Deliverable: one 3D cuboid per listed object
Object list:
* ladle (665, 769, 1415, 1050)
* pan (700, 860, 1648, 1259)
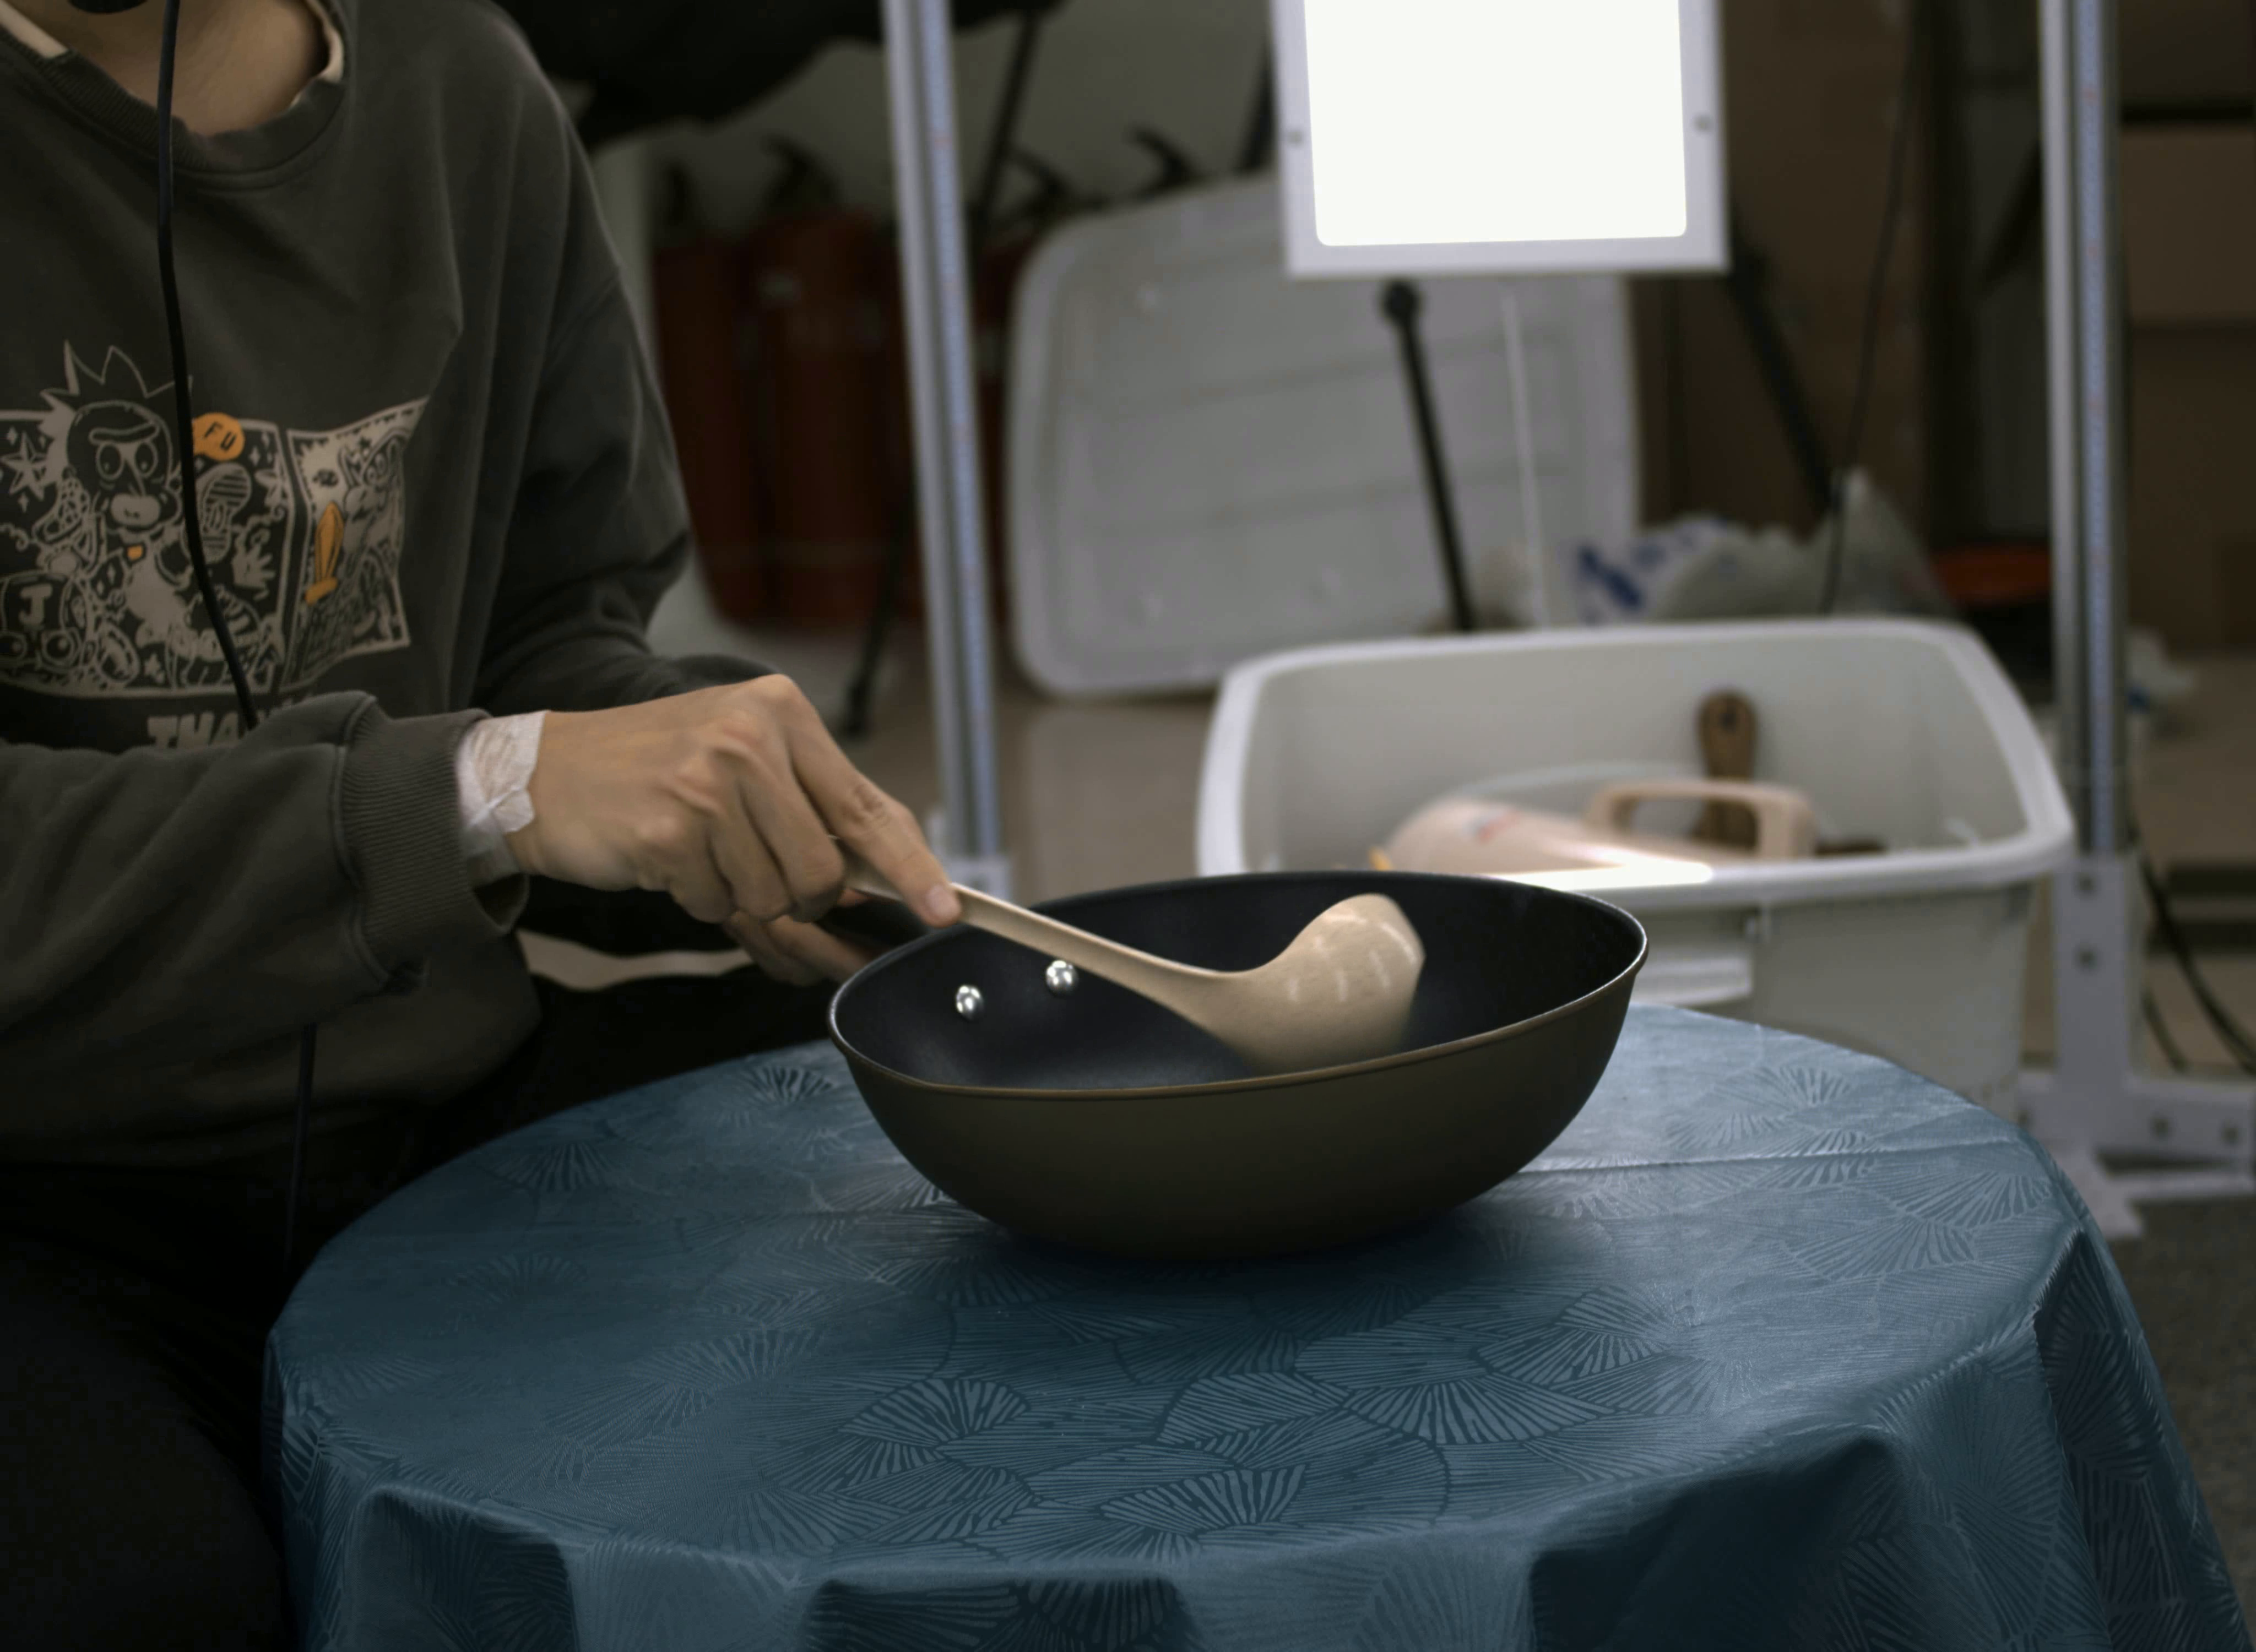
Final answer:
[{"bbox_3d":[-0.026,0.018,1.835,0.256,0.073,0.071,23,36,11],"label":"ladle"},{"bbox_3d":[-0.017,0.076,1.938,0.281,0.087,0.473,-15,15,-35],"label":"pan"}]
